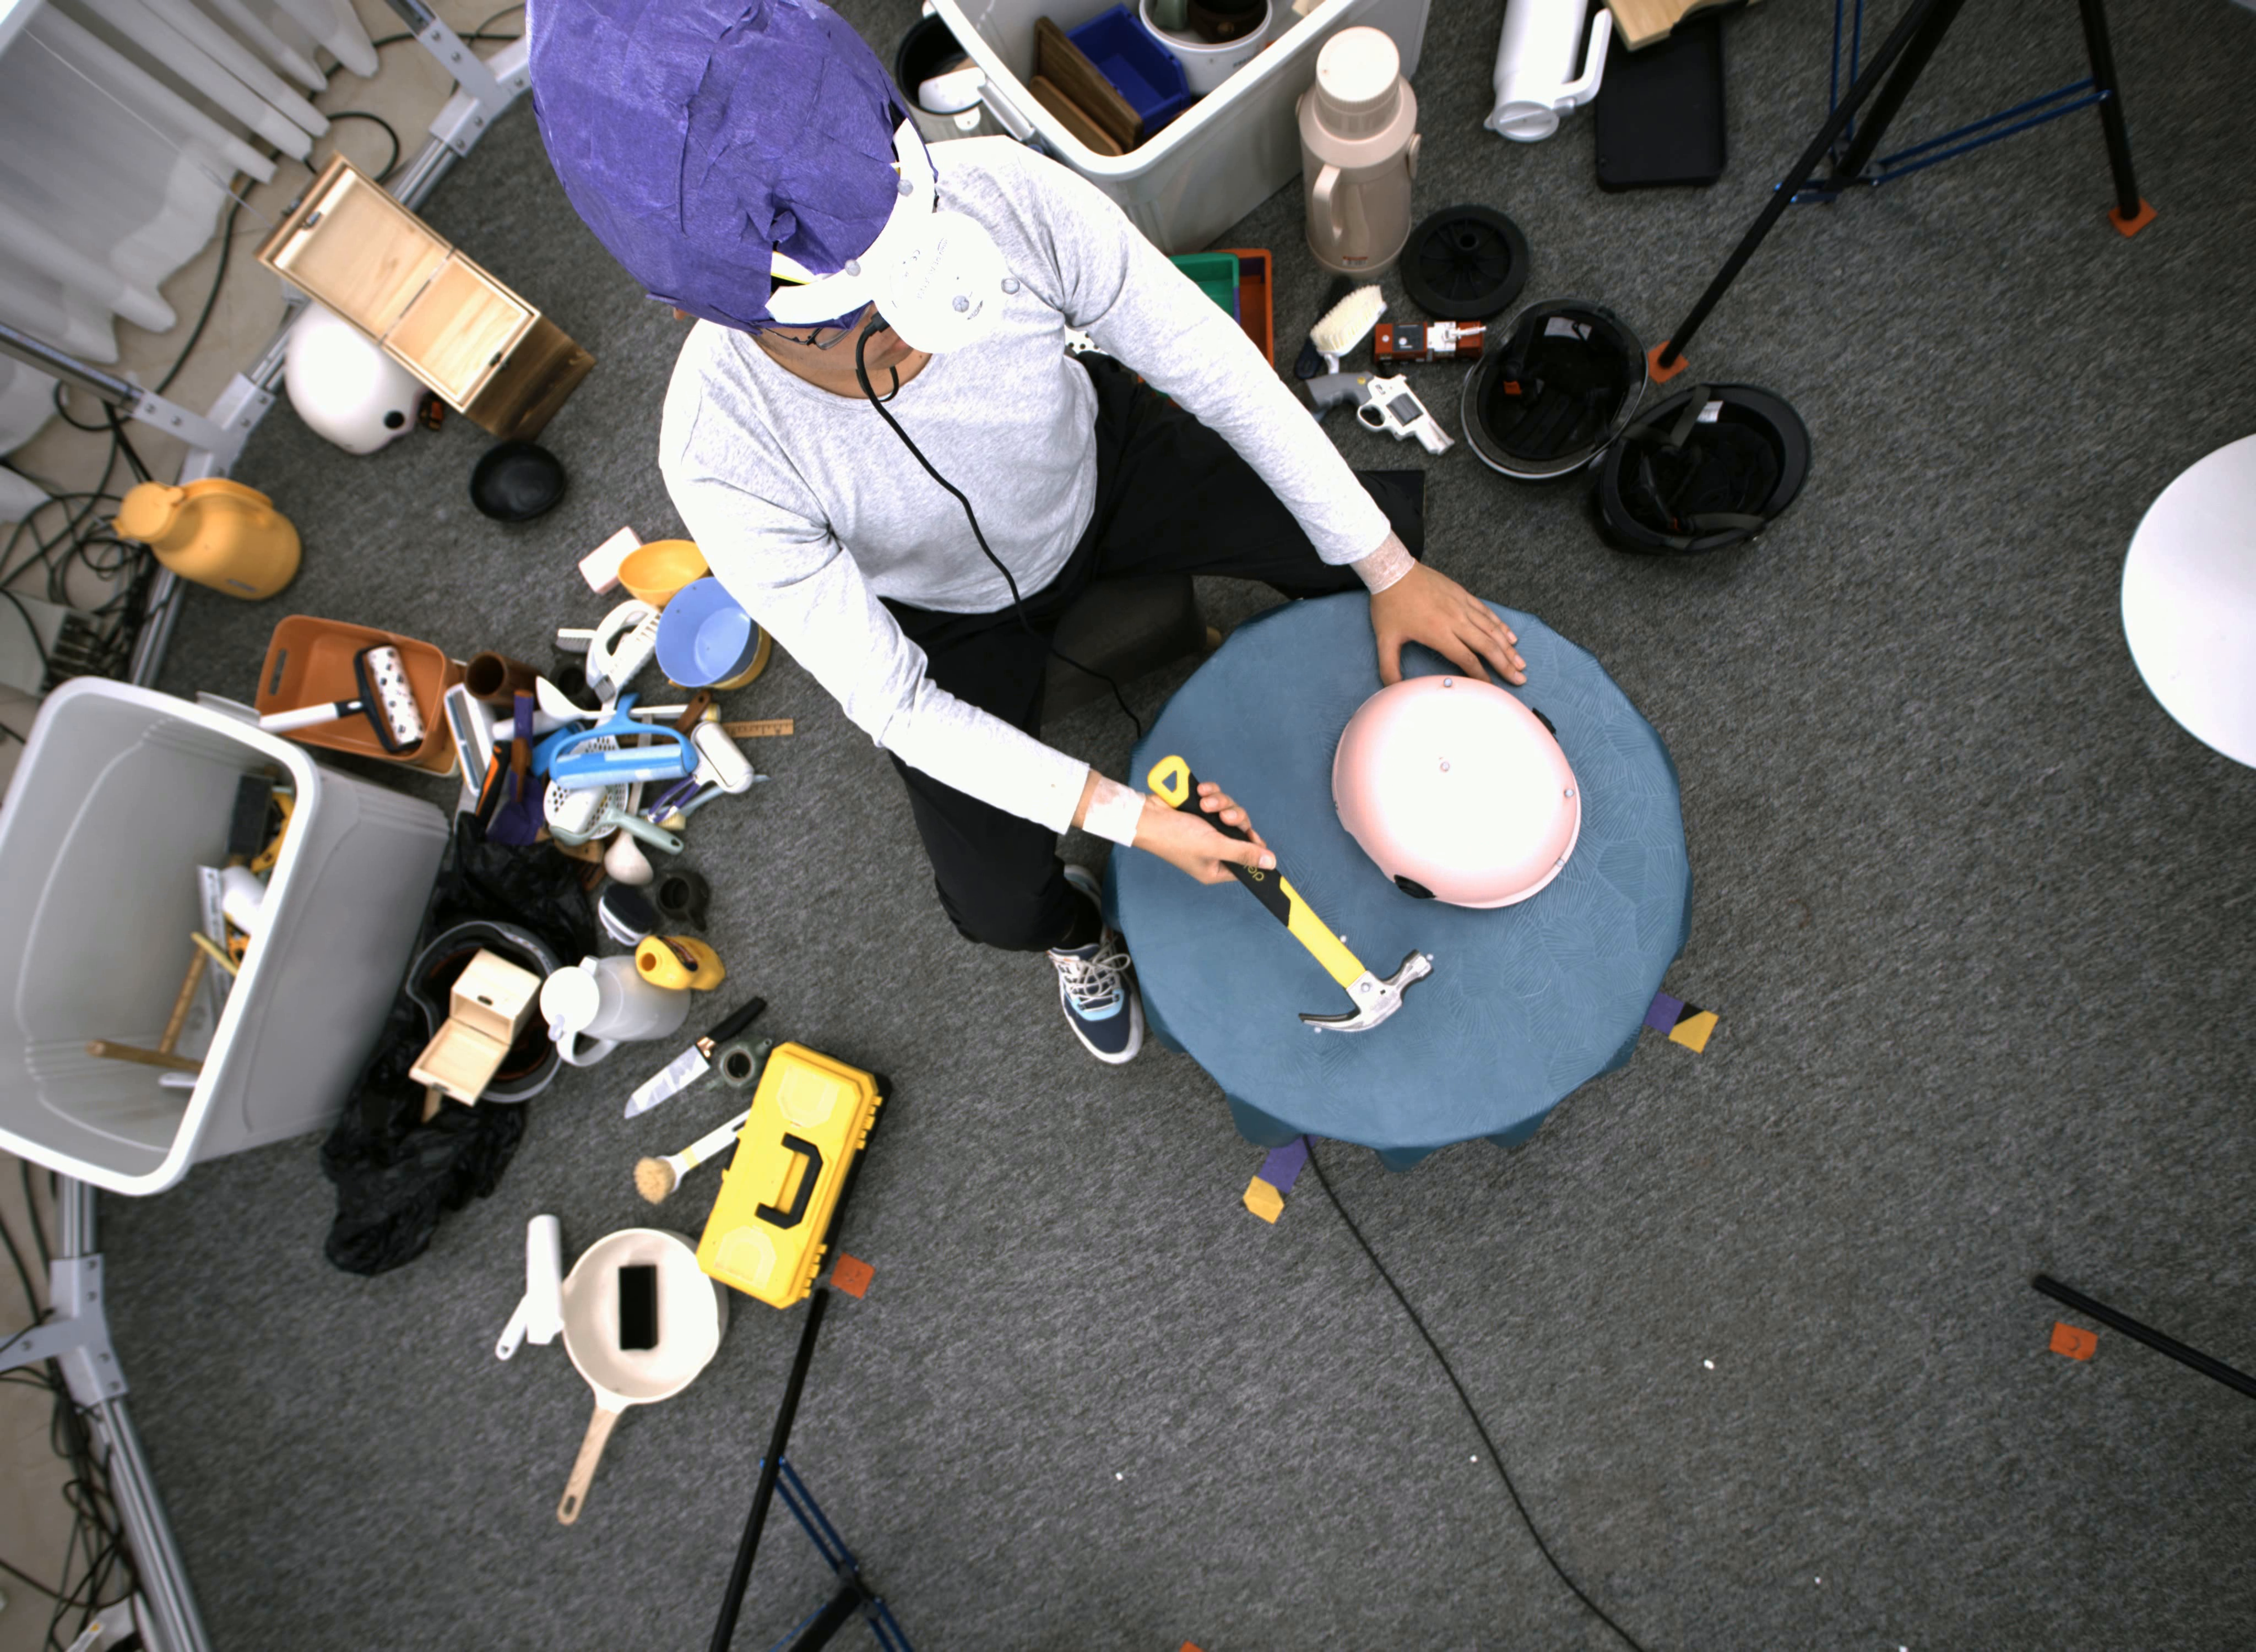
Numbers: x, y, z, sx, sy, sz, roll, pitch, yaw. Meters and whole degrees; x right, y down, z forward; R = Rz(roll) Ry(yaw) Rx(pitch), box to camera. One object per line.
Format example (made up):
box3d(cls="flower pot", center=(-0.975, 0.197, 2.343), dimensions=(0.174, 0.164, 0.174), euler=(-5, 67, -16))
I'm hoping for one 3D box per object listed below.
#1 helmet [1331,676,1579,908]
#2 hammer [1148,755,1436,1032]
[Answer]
box3d(cls="helmet", center=(0.335, -0.041, 1.379), dimensions=(0.265, 0.159, 0.234), euler=(38, 93, 7))
box3d(cls="hammer", center=(0.143, 0.063, 1.356), dimensions=(0.132, 0.032, 0.339), euler=(-42, 95, 4))
